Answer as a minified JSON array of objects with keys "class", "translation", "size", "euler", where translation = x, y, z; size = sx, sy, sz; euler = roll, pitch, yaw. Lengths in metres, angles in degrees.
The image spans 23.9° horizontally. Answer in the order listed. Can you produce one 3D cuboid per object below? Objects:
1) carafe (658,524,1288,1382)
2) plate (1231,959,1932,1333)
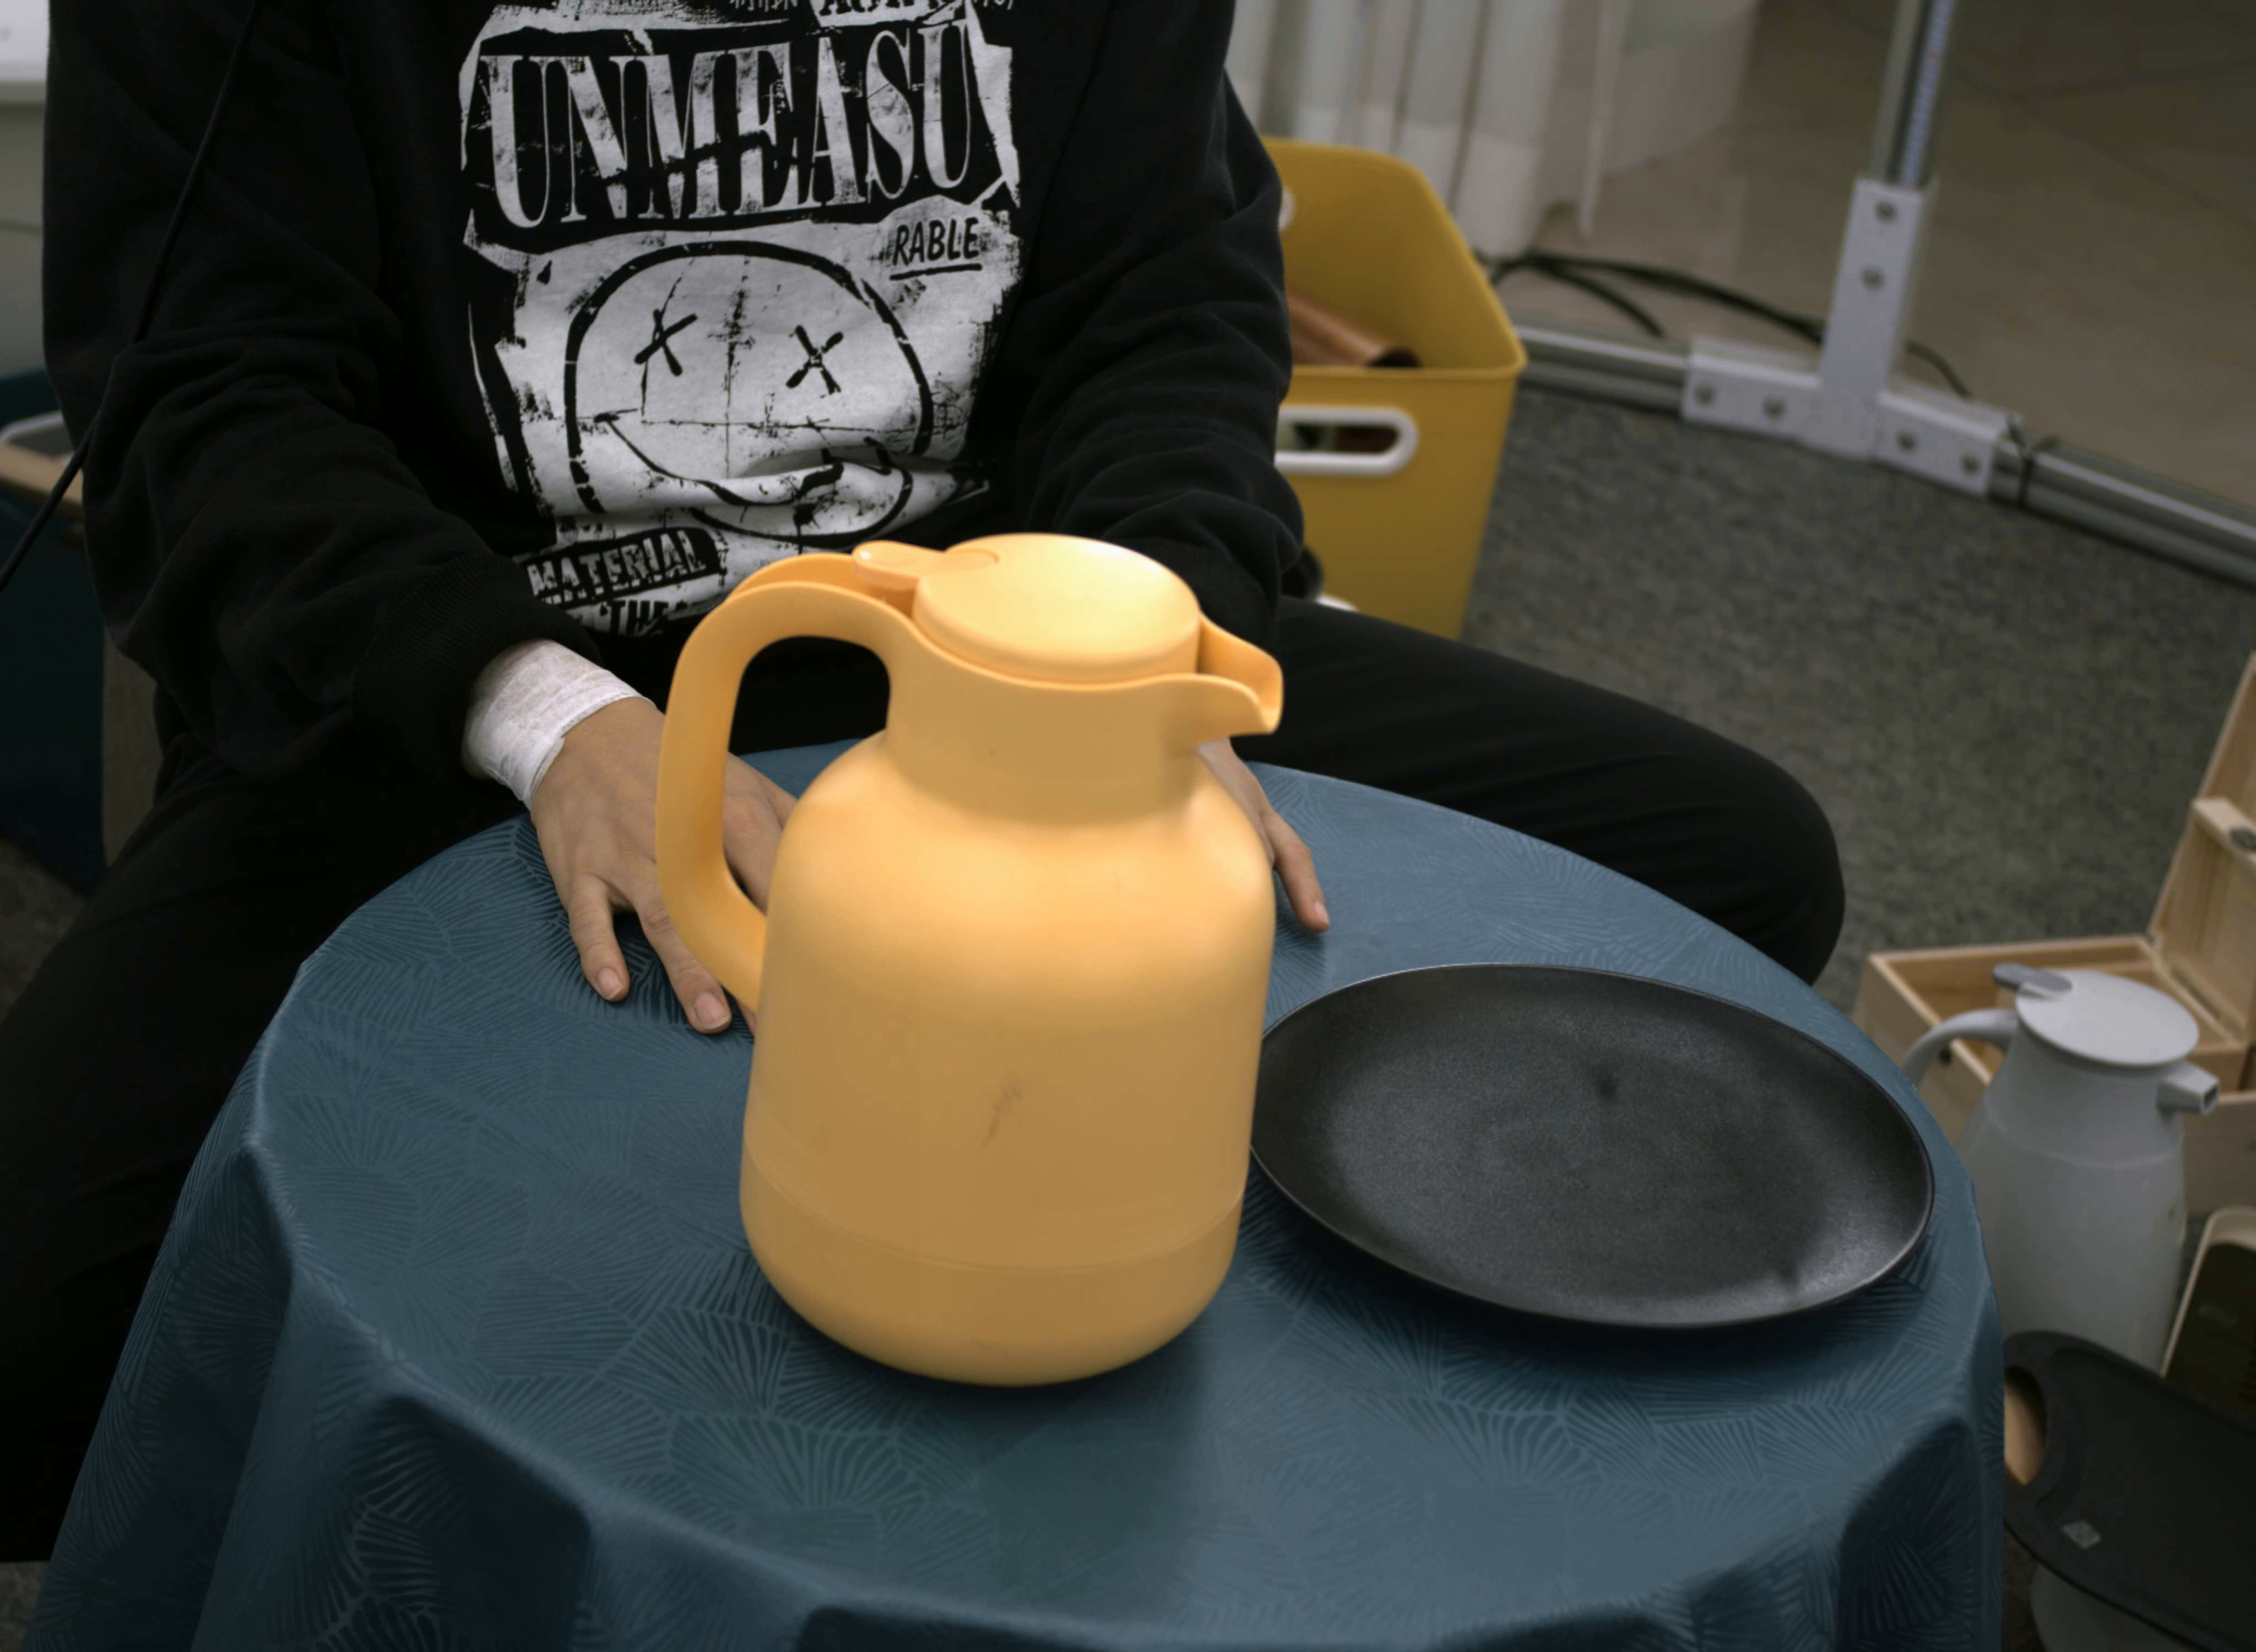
[{"class":"carafe","translation":[-0.054,0.030,1.688],"size":[0.203,0.260,0.163],"euler":[17,25,15]},{"class":"plate","translation":[0.154,0.115,1.831],"size":[0.243,0.023,0.246],"euler":[5,27,-3]}]
